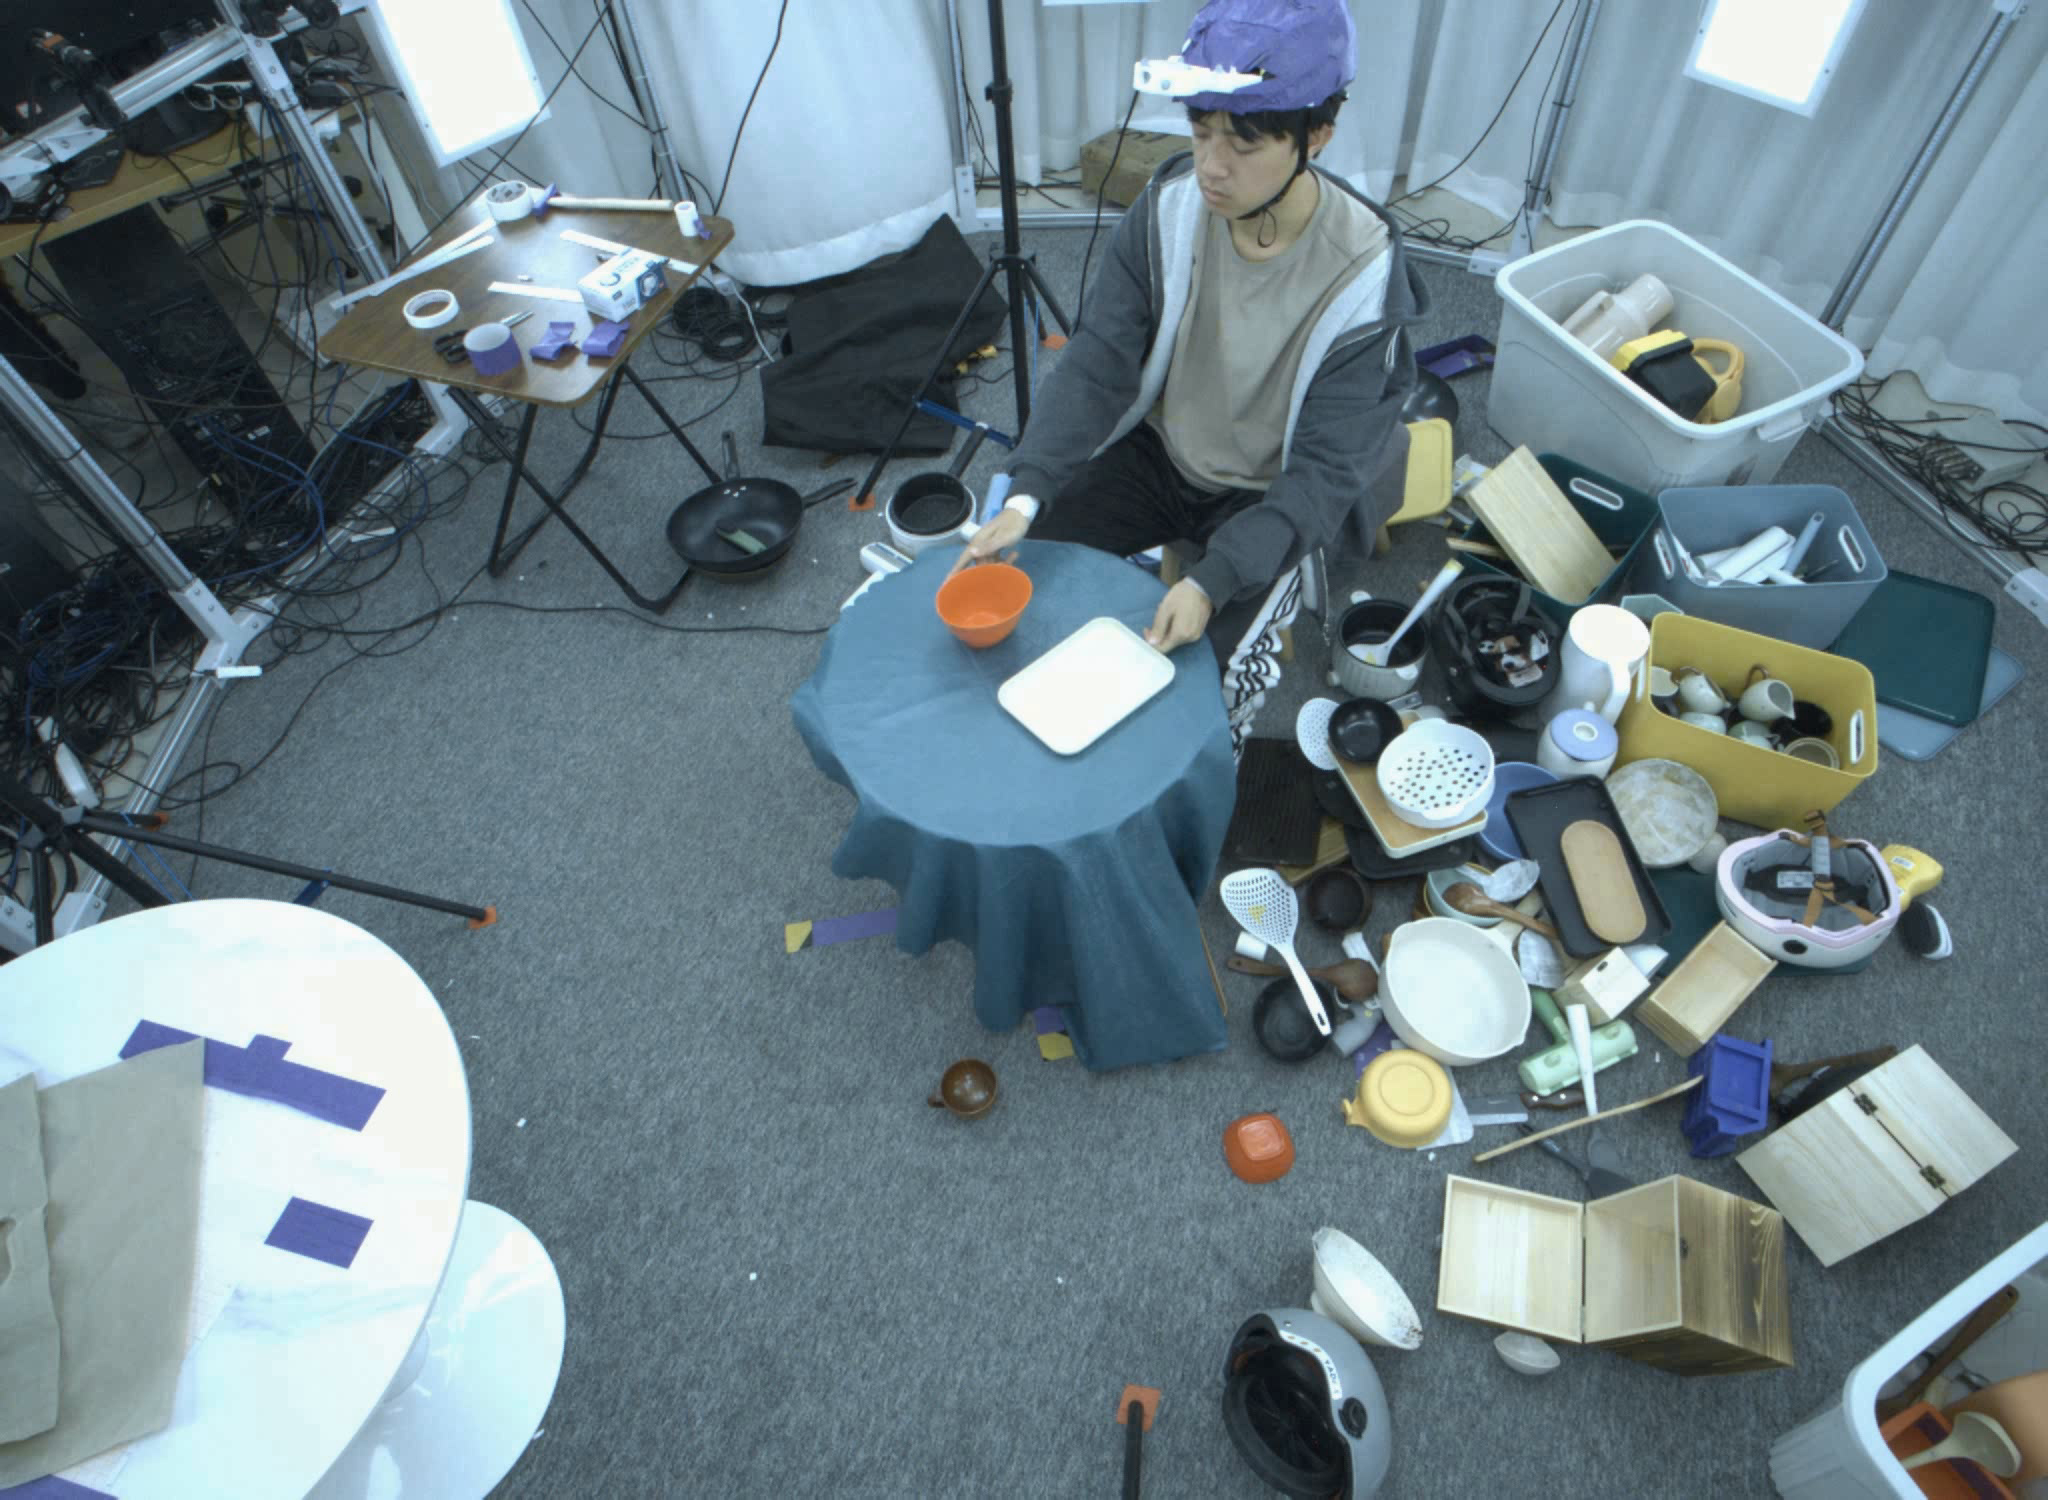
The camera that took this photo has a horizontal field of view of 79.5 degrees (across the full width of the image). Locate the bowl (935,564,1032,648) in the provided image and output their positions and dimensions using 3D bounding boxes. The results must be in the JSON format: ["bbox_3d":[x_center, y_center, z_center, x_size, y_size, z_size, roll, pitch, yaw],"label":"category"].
[{"bbox_3d":[-0.060,-0.208,1.877,0.148,0.106,0.146,-1,56,3],"label":"bowl"}]

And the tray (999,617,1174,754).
[{"bbox_3d":[0.095,-0.097,1.845,0.241,0.017,0.168,-37,61,-22],"label":"tray"}]
